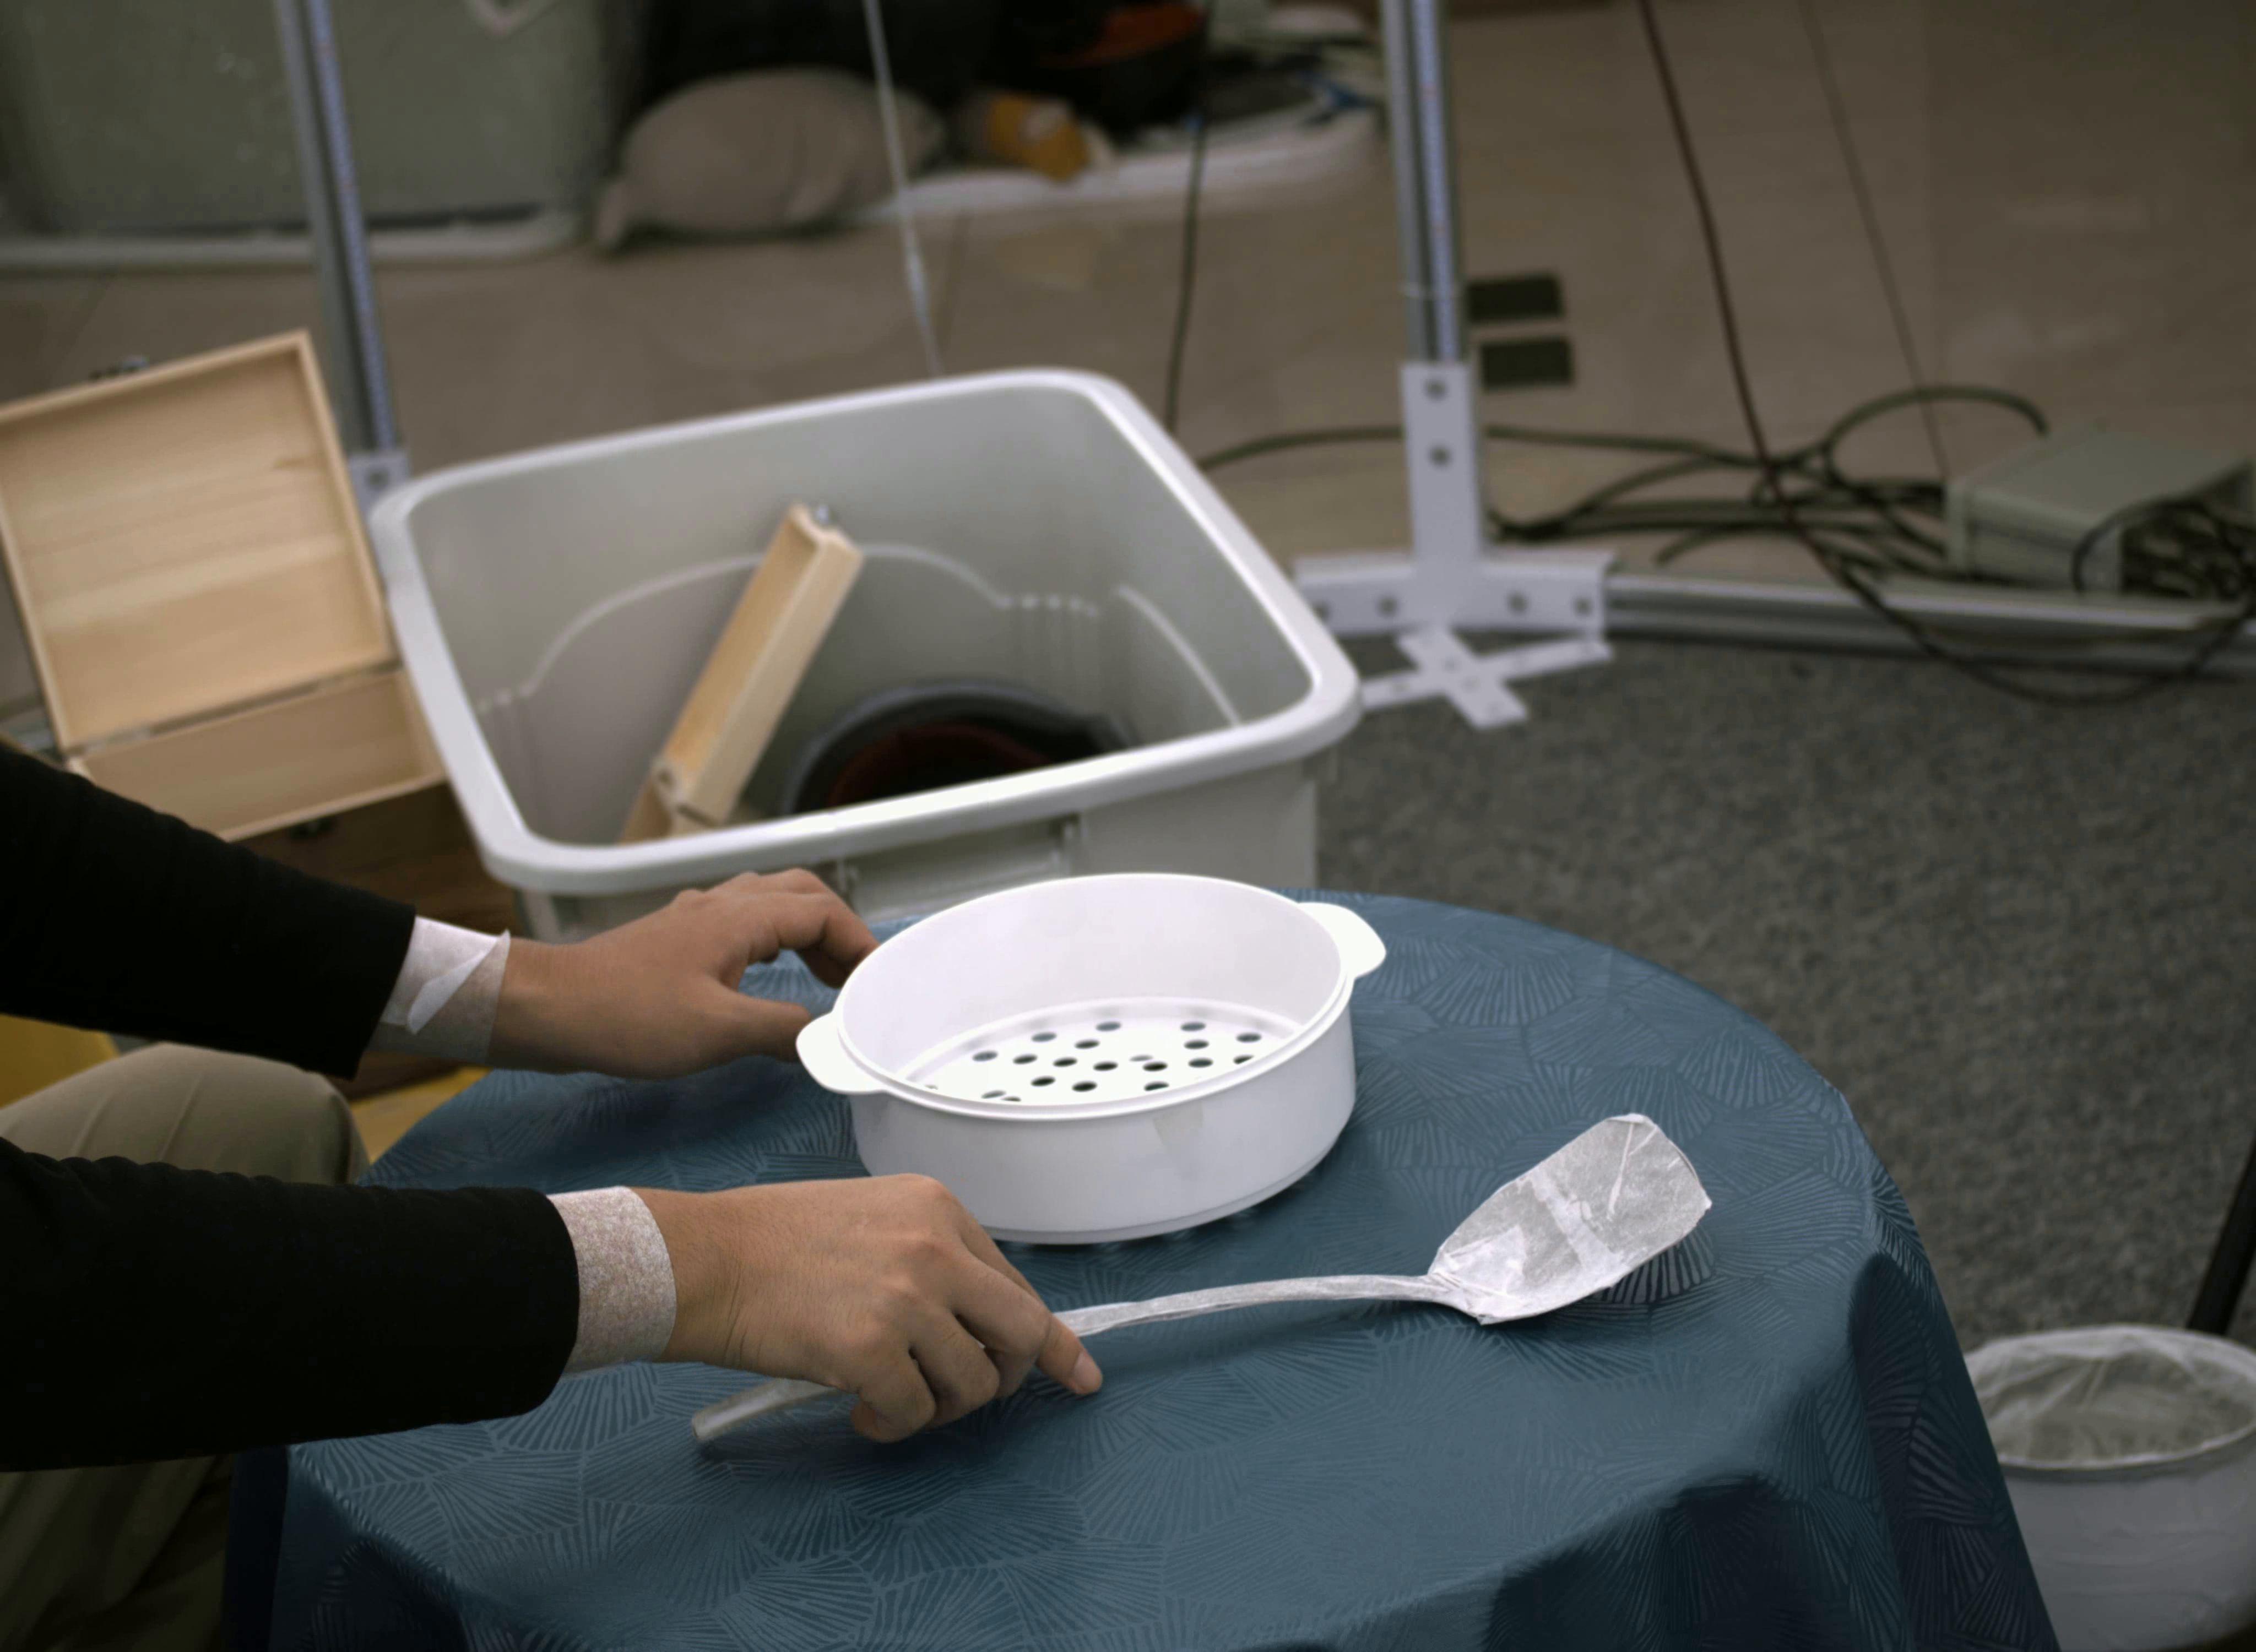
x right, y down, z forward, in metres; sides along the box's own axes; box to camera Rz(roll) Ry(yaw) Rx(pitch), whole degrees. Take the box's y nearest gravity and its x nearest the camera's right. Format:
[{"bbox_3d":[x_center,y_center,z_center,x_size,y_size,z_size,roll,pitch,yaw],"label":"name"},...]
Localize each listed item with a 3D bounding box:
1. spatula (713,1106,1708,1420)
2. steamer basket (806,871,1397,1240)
[{"bbox_3d":[0.029,0.165,2.034,0.364,0.045,0.097,-9,27,-8],"label":"spatula"},{"bbox_3d":[-0.006,0.089,2.174,0.230,0.070,0.199,-14,25,-13],"label":"steamer basket"}]
